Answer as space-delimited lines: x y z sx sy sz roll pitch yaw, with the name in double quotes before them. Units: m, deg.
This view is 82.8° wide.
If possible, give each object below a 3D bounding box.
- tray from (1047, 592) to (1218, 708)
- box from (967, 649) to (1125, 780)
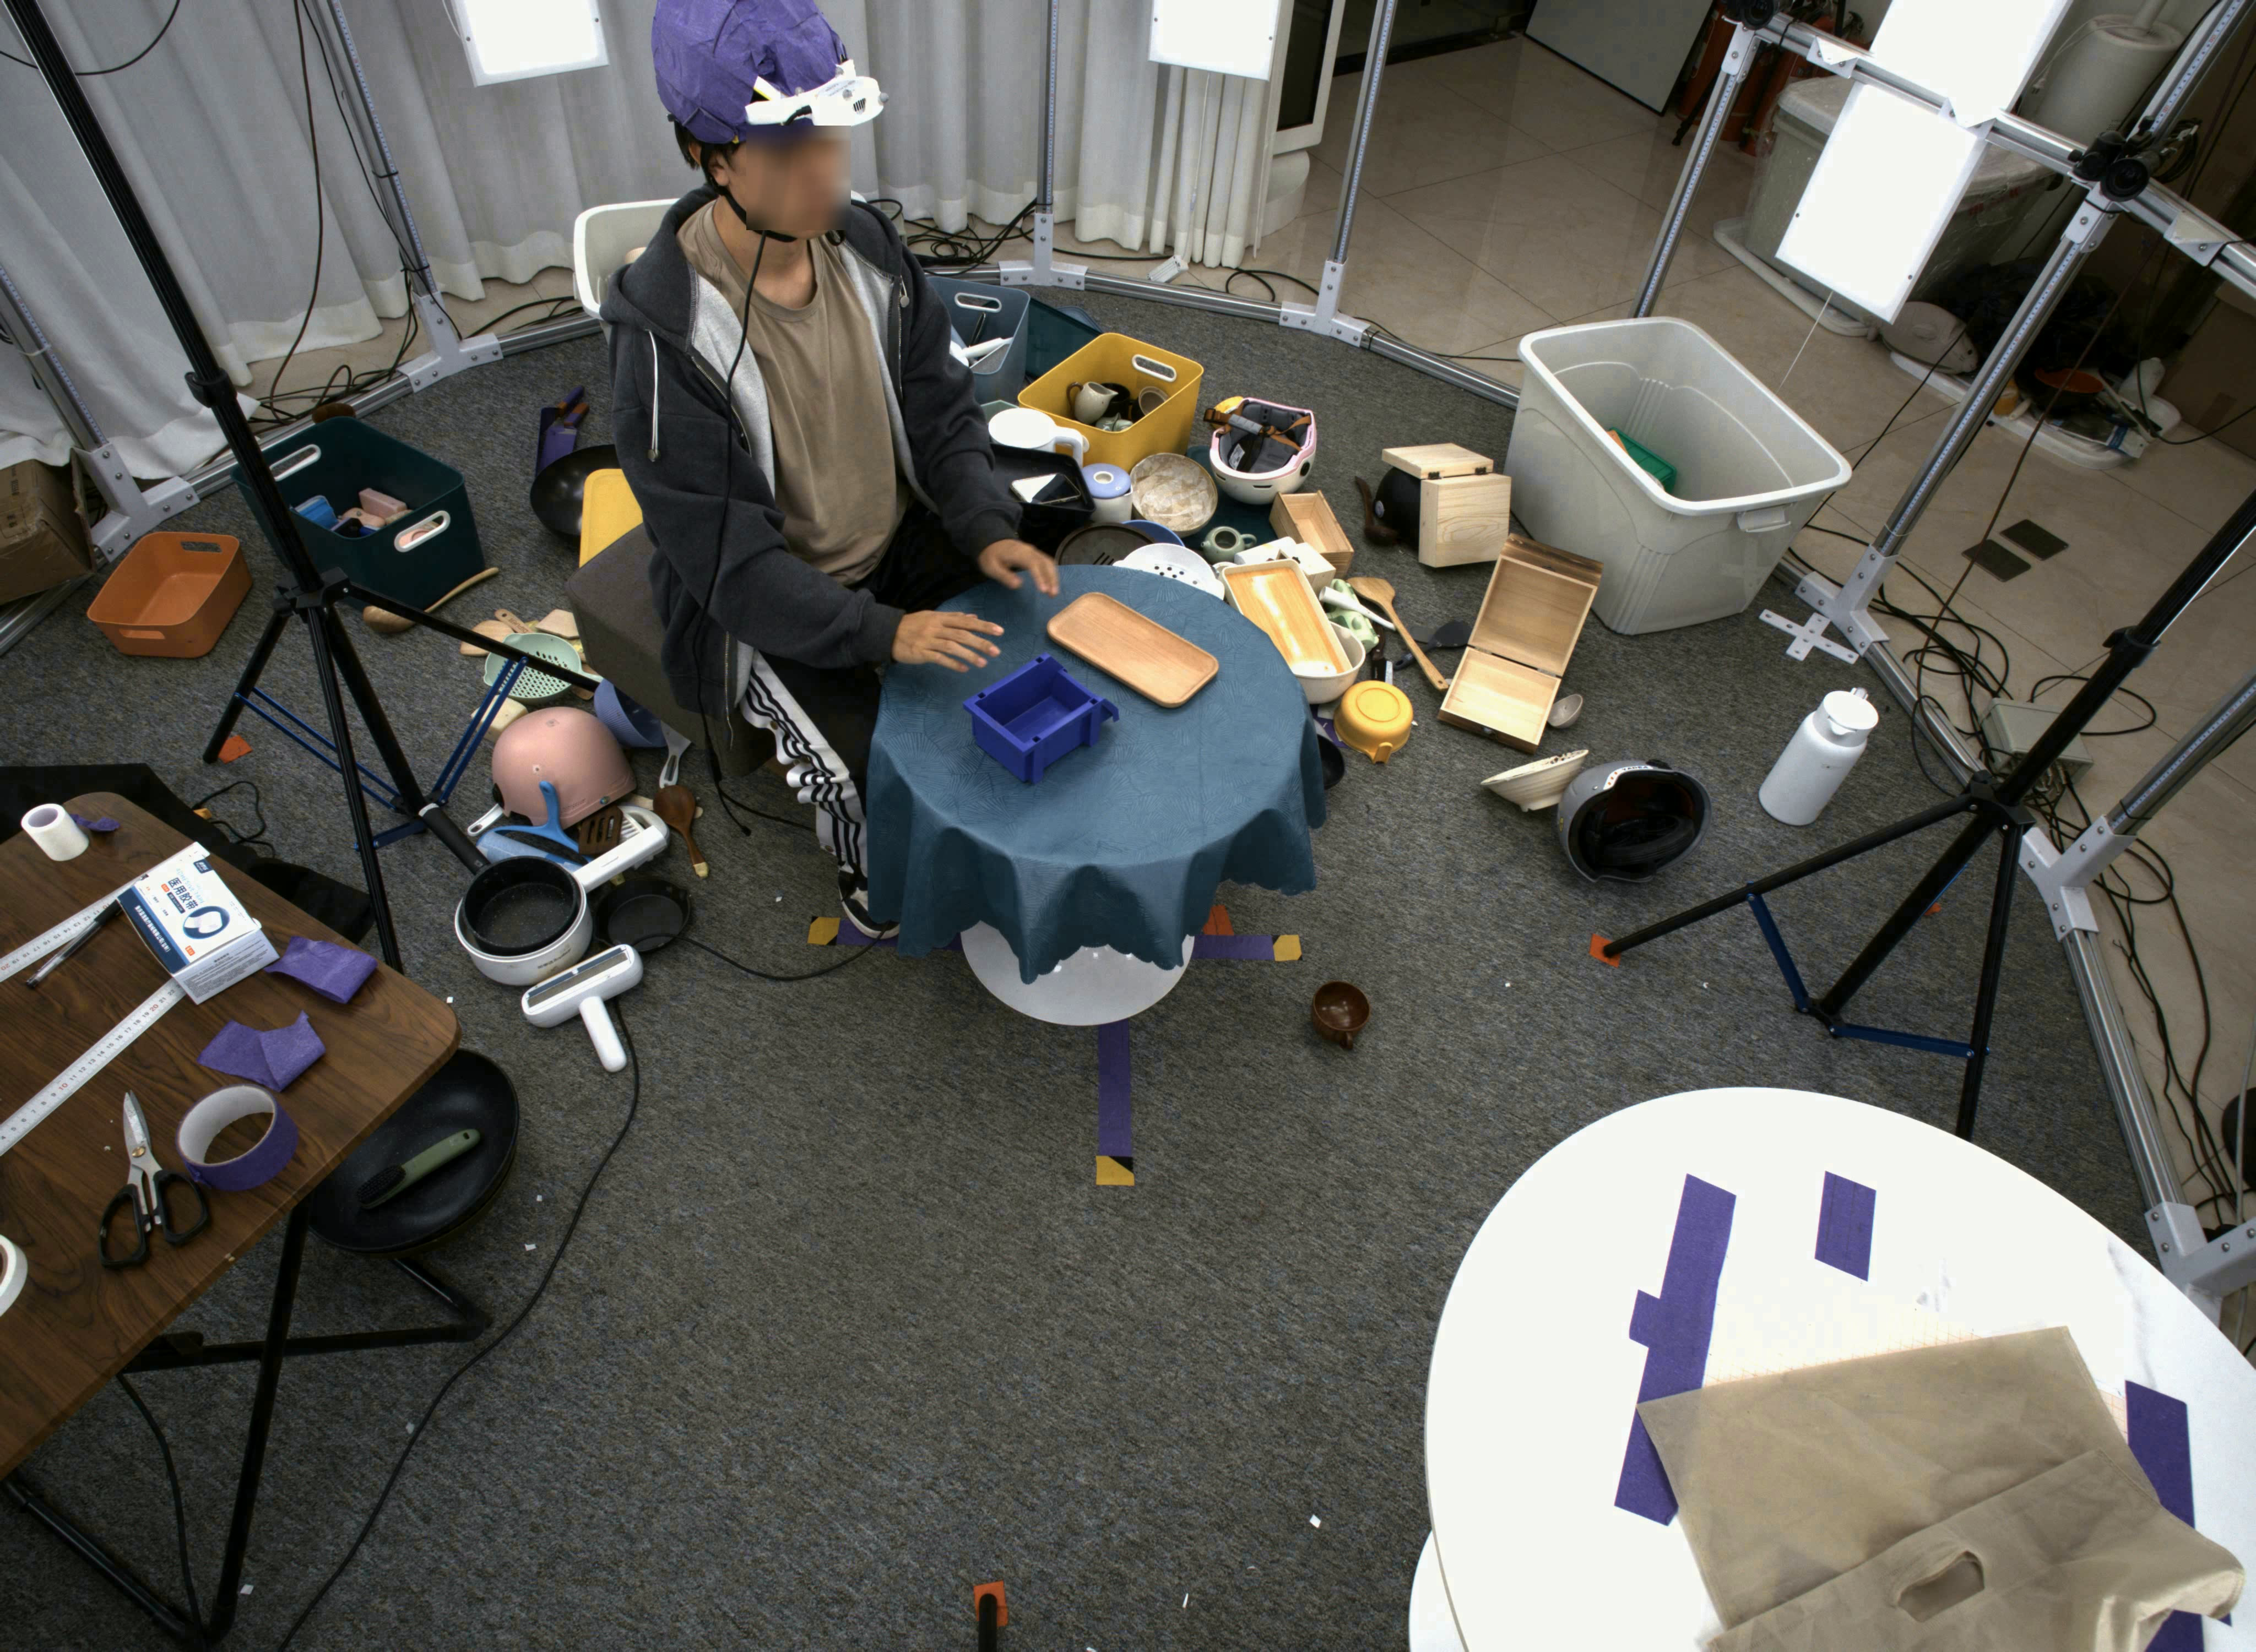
"tray" 0.005 -0.260 1.881 0.254 0.022 0.132 33 52 23
"box" -0.110 -0.157 1.742 0.181 0.080 0.126 -35 59 -26
